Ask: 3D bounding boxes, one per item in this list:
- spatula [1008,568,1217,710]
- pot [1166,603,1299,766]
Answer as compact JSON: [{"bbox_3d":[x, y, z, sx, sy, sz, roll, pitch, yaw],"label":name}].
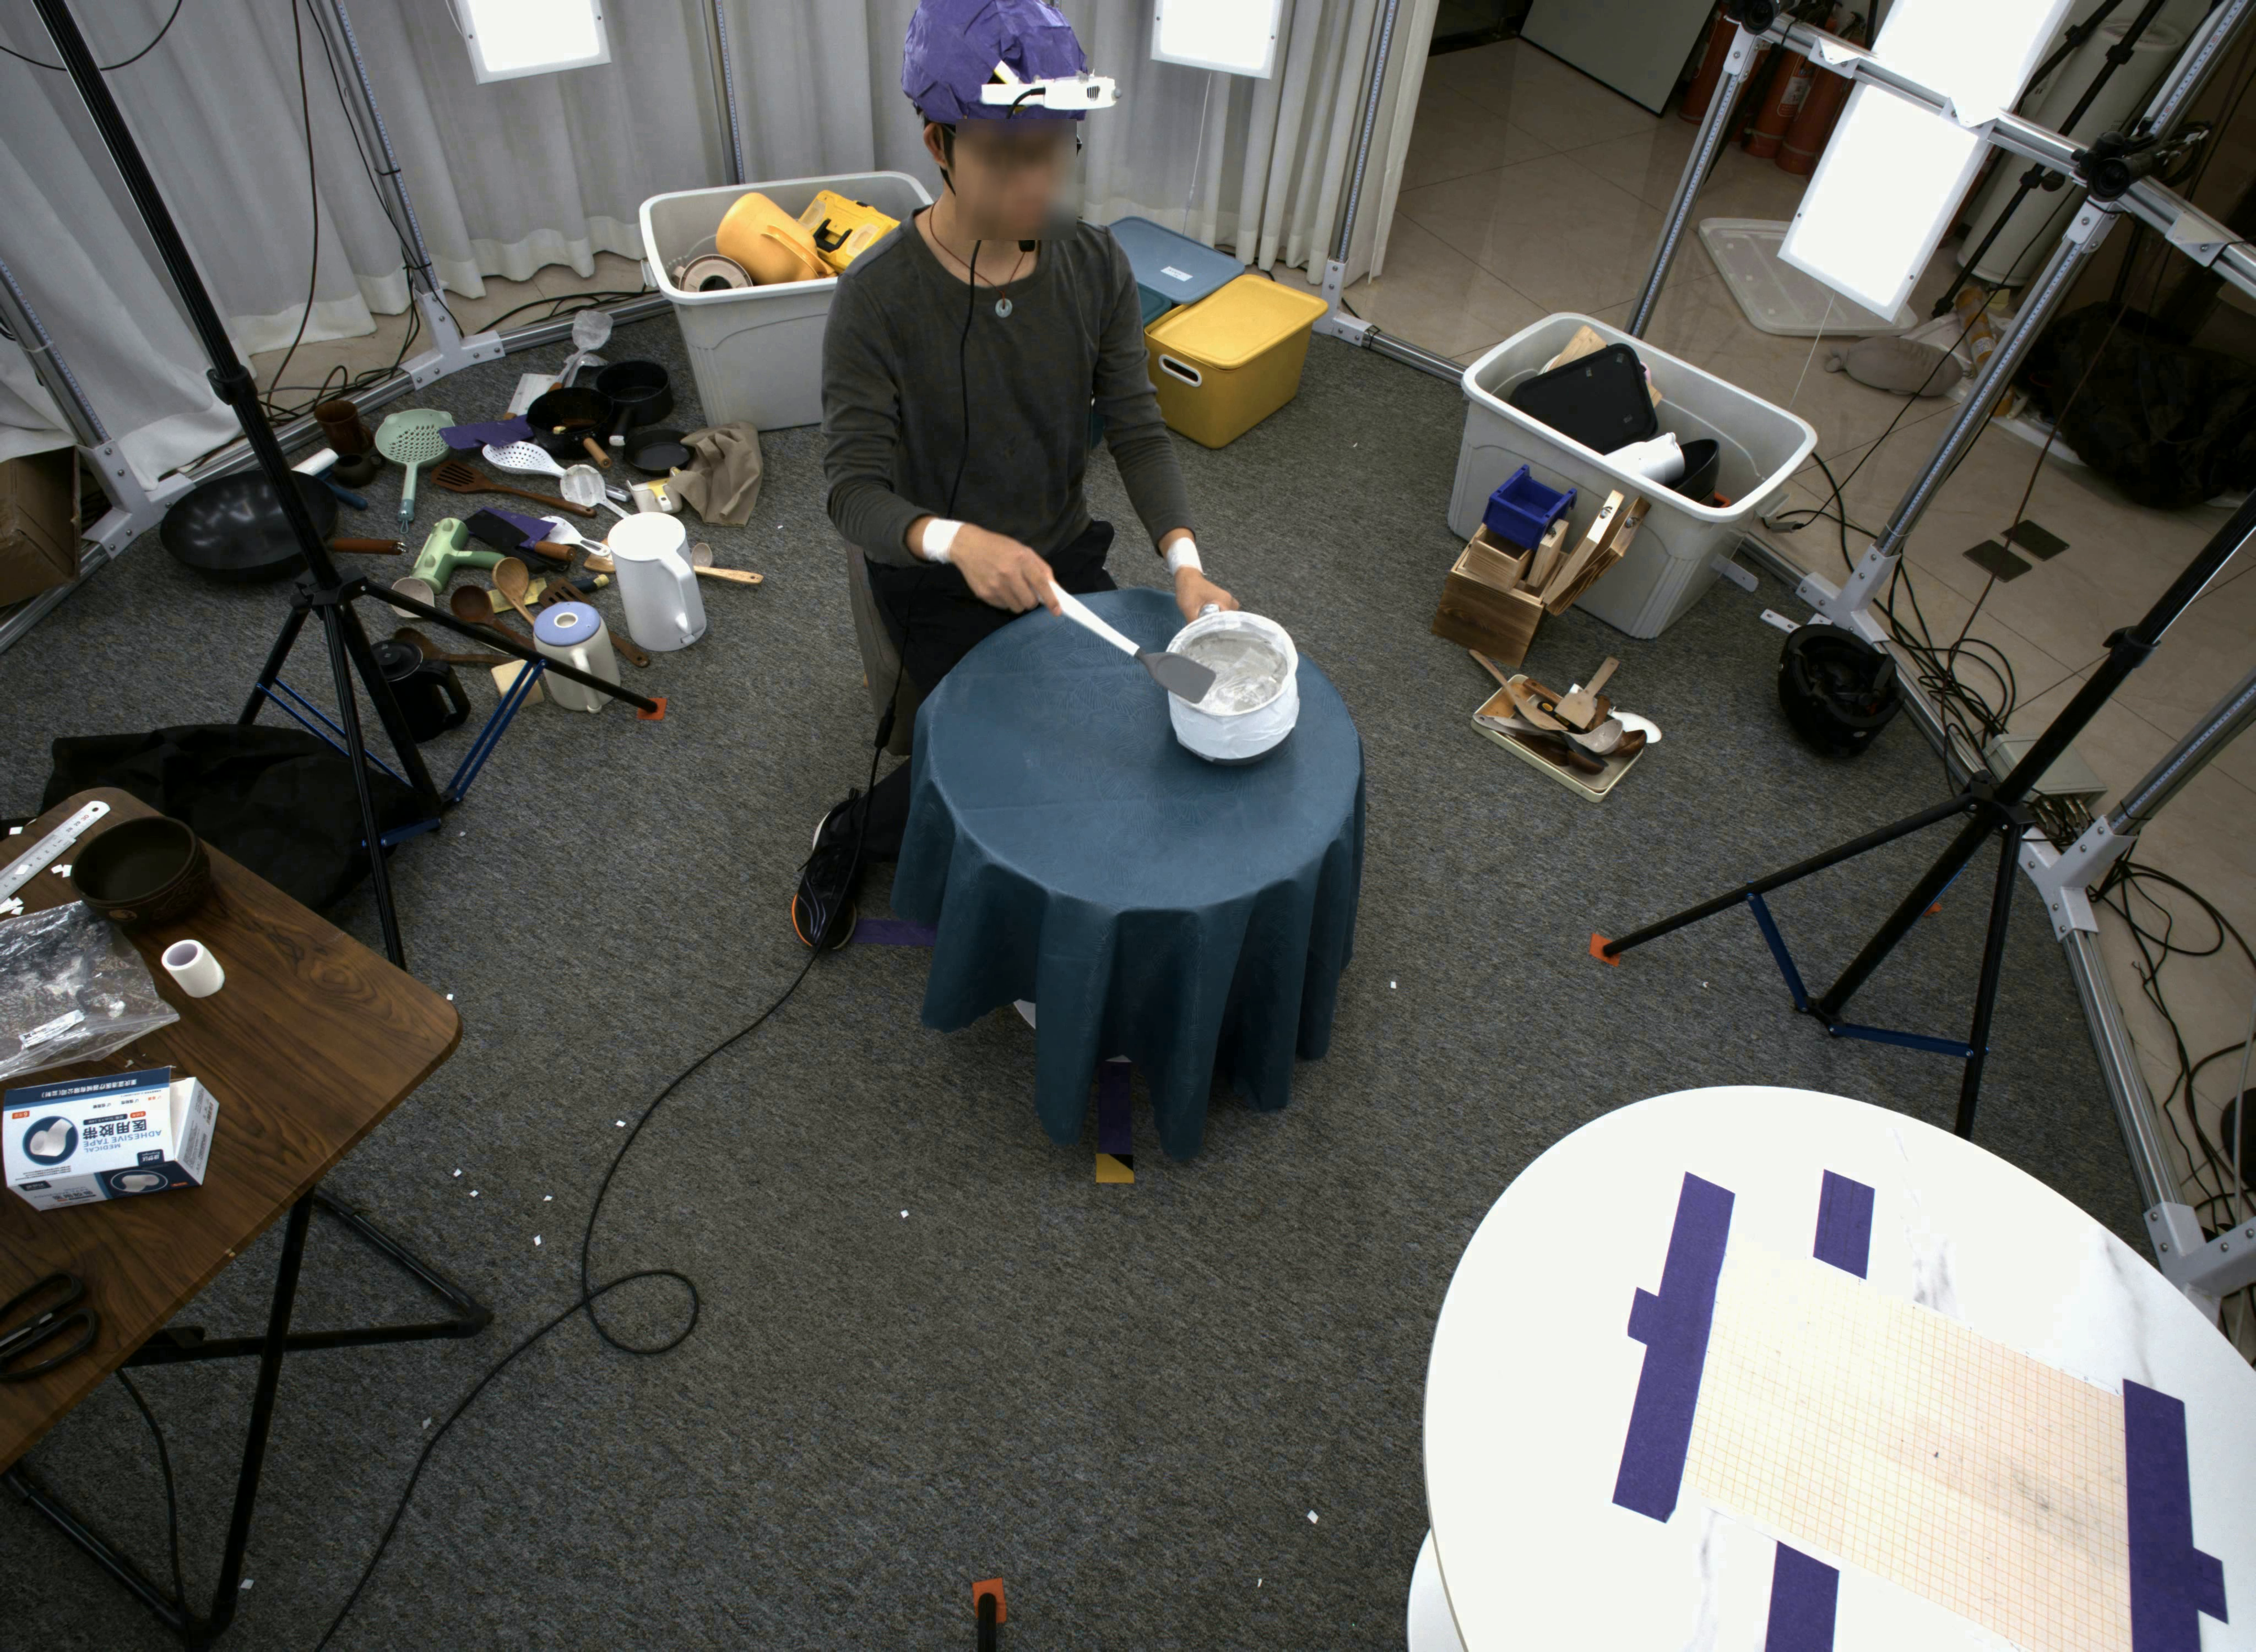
[{"bbox_3d":[-0.021,-0.238,1.617,0.288,0.032,0.059,31,75,5],"label":"spatula"},{"bbox_3d":[0.136,-0.203,1.745,0.178,0.133,0.239,-14,55,-2],"label":"pot"}]
